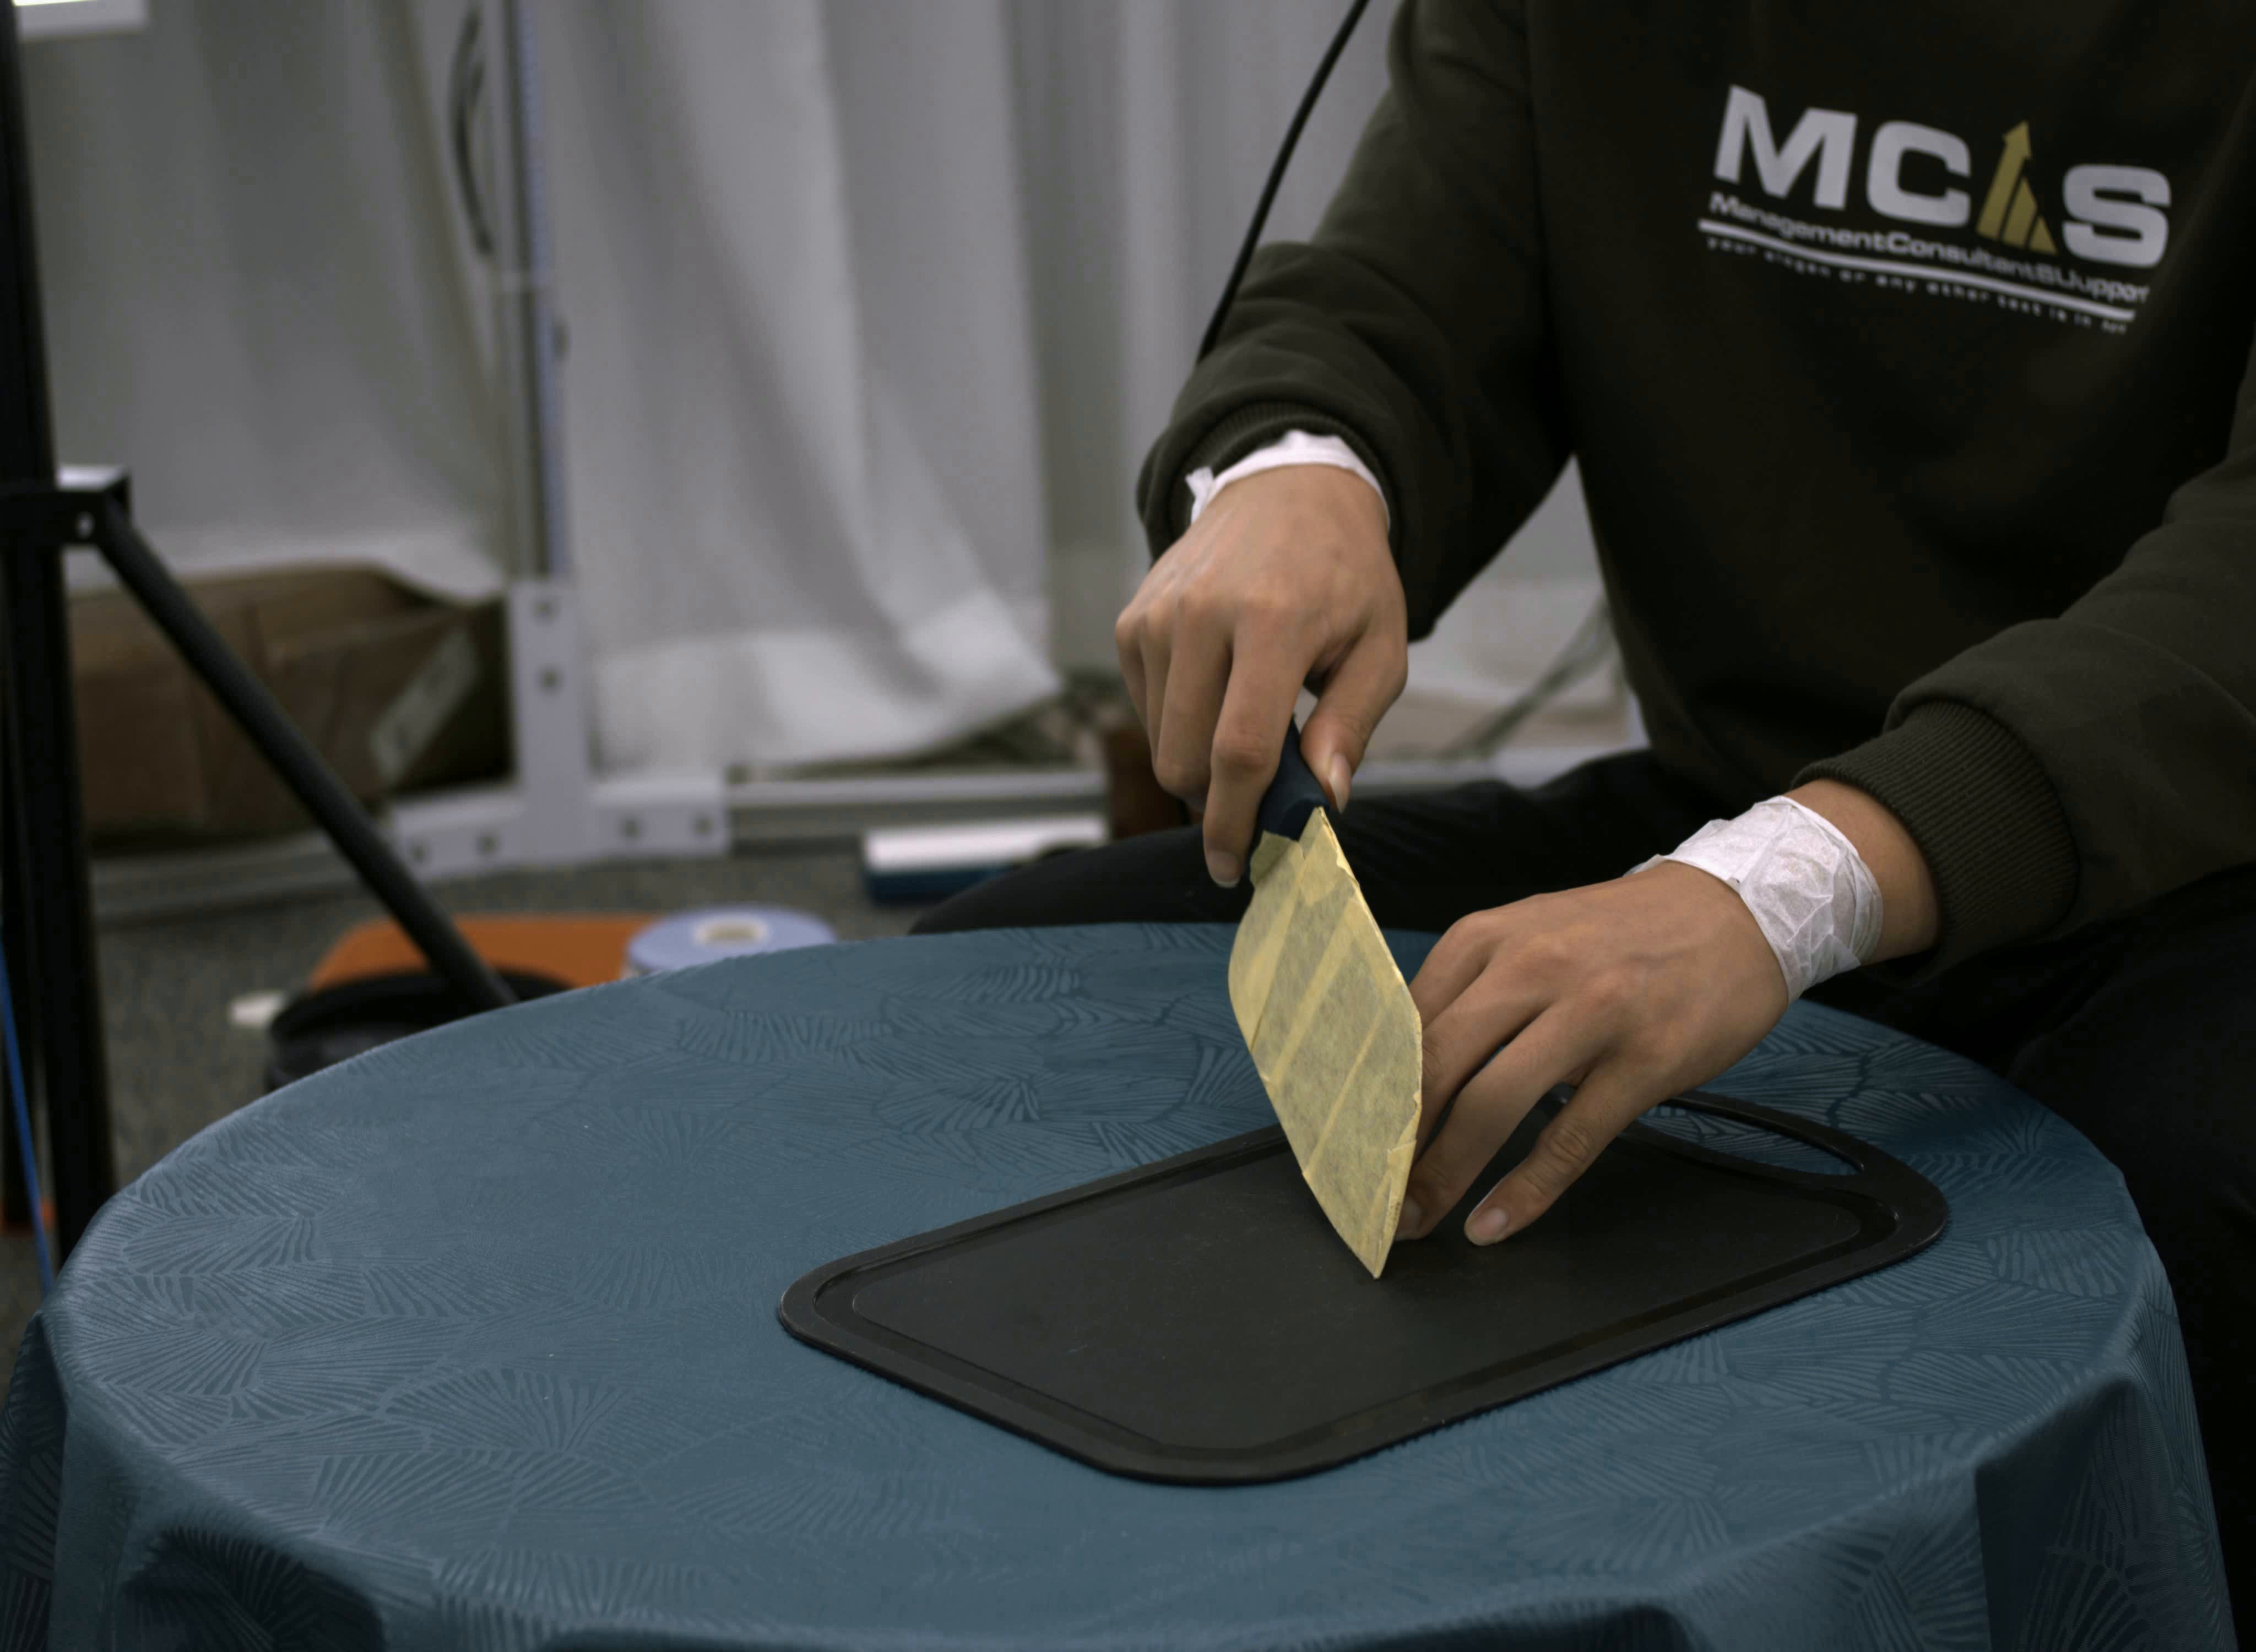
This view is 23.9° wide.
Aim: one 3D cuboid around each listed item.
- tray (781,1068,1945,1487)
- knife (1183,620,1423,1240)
[{"bbox_3d":[0.075,0.118,1.499,0.318,0.010,0.216,-15,20,-36],"label":"tray"},{"bbox_3d":[0.048,0.027,1.591,0.026,0.081,0.294,16,29,-21],"label":"knife"}]
